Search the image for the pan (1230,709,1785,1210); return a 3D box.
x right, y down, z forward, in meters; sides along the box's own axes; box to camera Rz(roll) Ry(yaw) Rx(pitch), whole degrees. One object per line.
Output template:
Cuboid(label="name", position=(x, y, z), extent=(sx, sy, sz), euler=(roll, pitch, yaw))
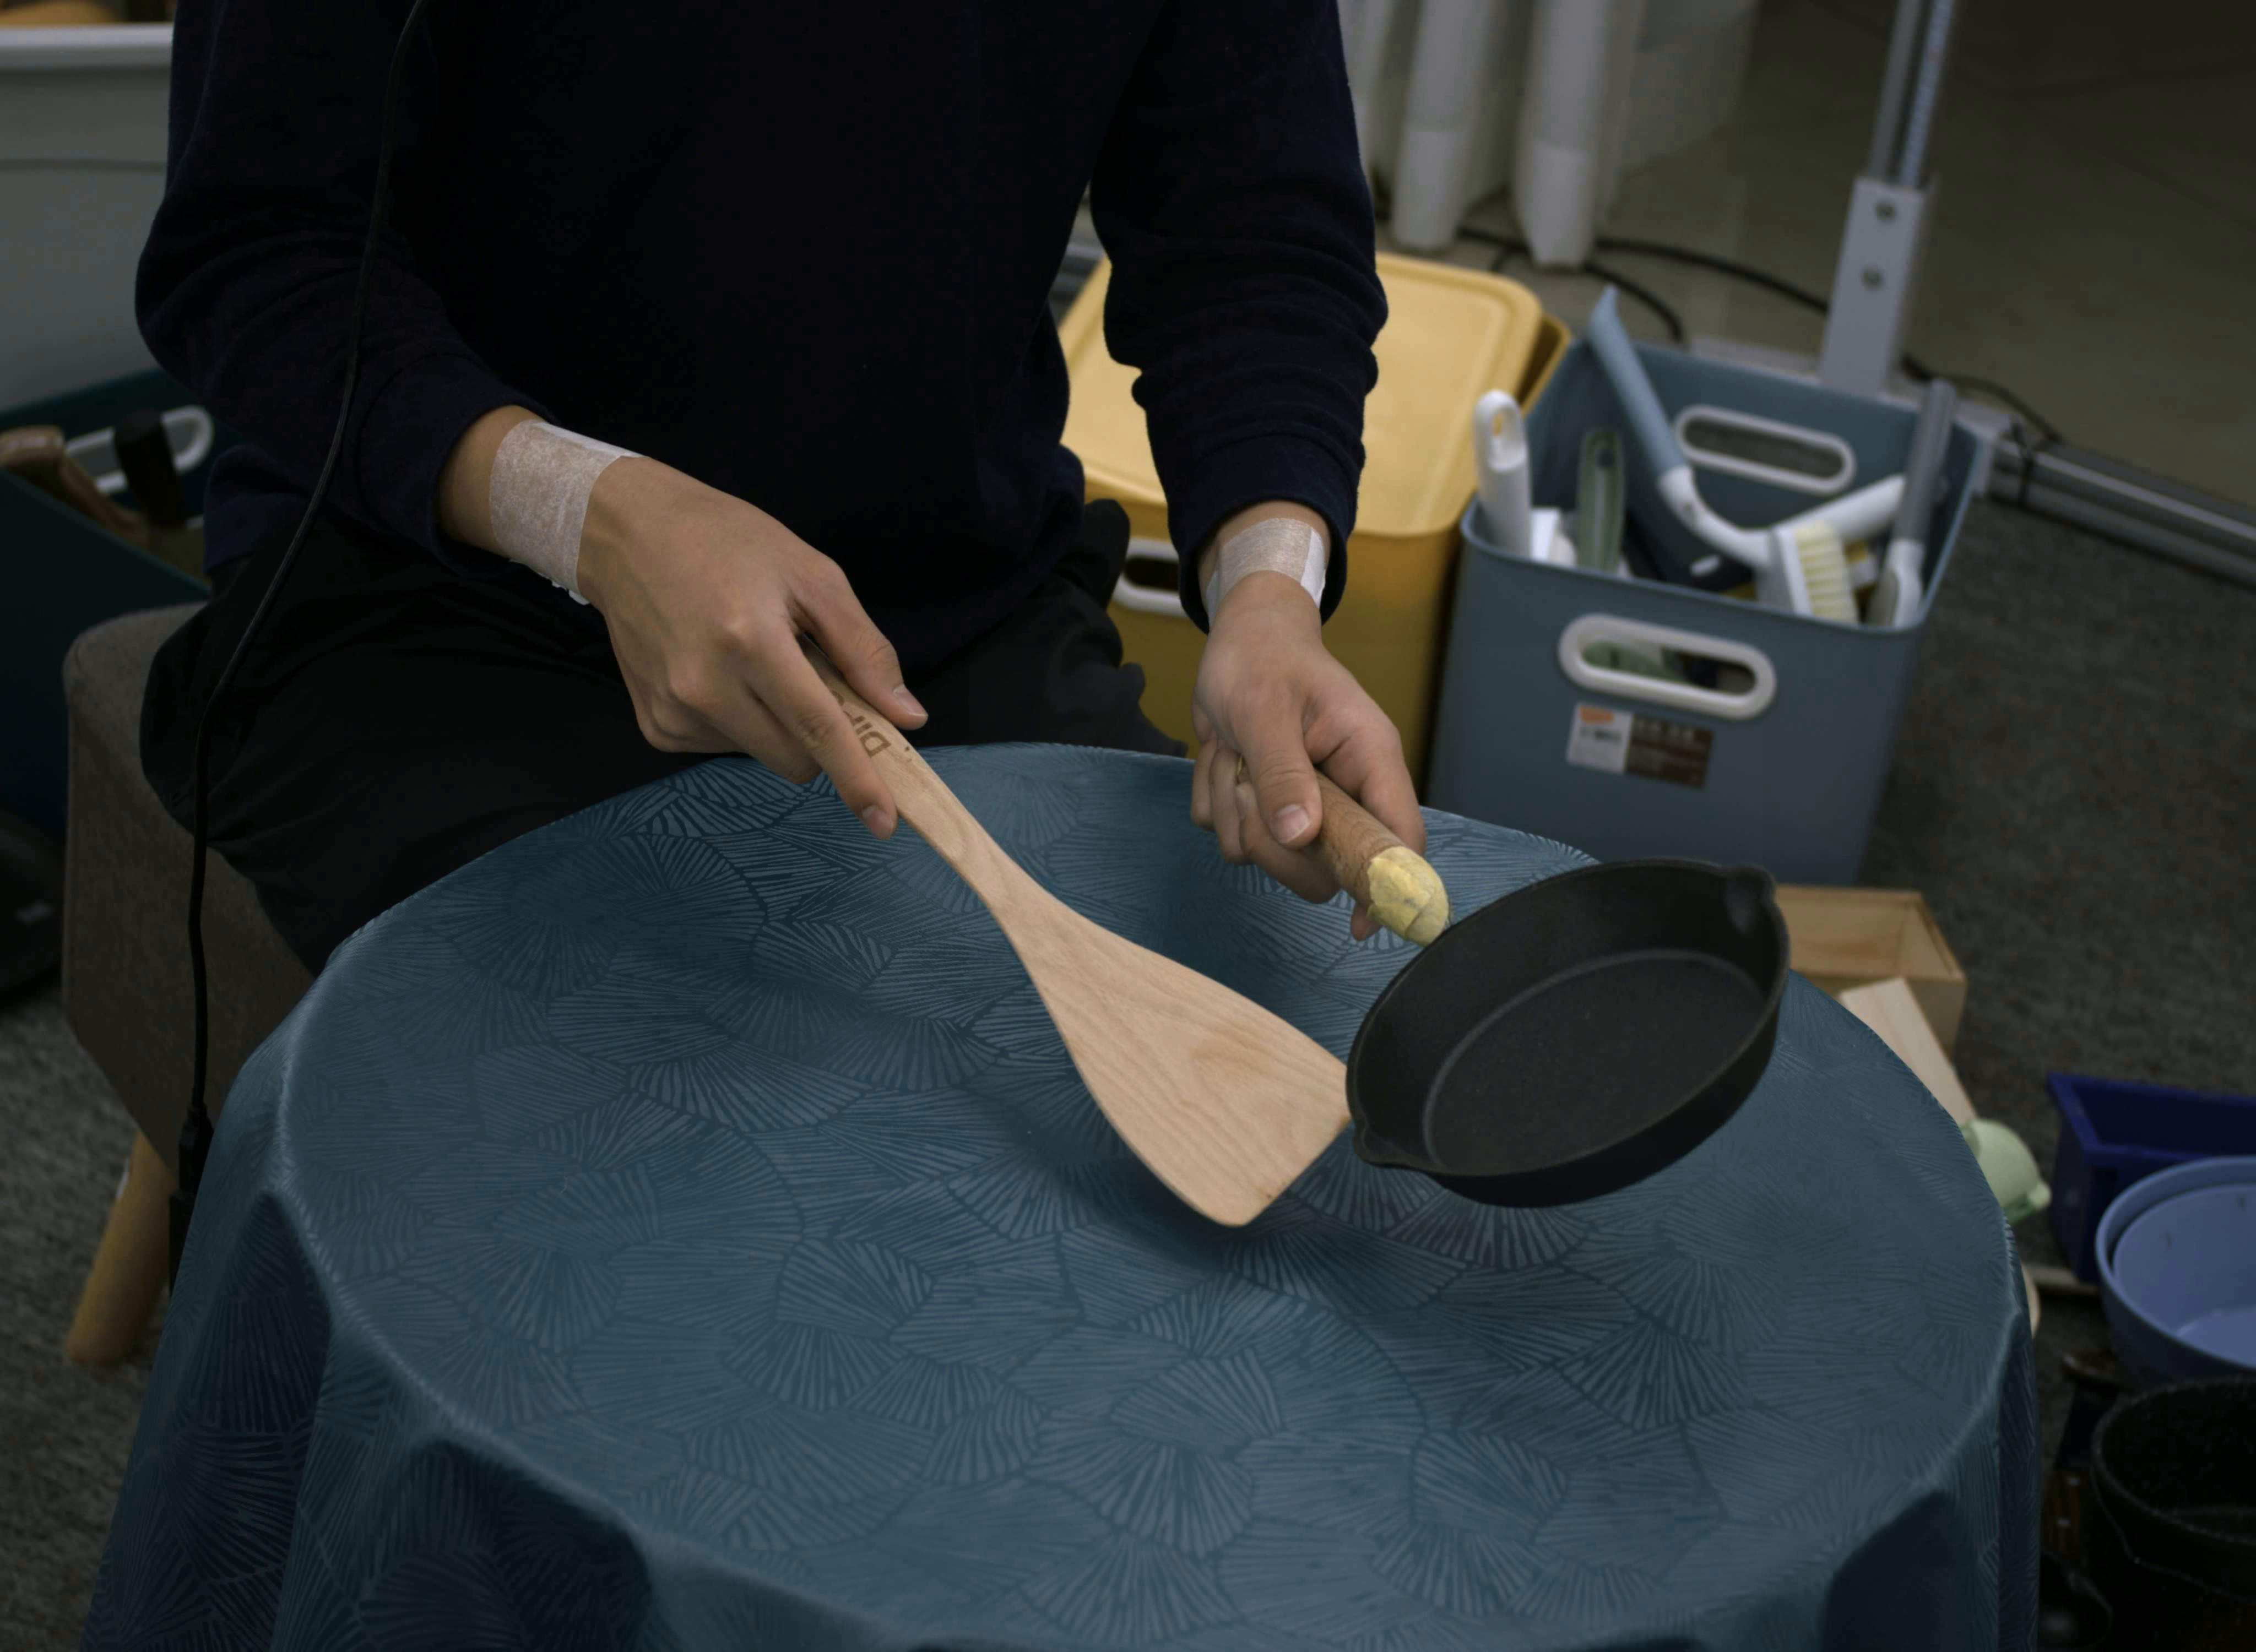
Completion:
Cuboid(label="pan", position=(0.114, 0.036, 1.837), extent=(0.168, 0.049, 0.327), euler=(-35, 32, -8))

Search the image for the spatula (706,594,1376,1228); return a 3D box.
Cuboid(label="spatula", position=(-0.041, 0.018, 1.844), extent=(0.080, 0.016, 0.330), euler=(-32, 60, -25))
